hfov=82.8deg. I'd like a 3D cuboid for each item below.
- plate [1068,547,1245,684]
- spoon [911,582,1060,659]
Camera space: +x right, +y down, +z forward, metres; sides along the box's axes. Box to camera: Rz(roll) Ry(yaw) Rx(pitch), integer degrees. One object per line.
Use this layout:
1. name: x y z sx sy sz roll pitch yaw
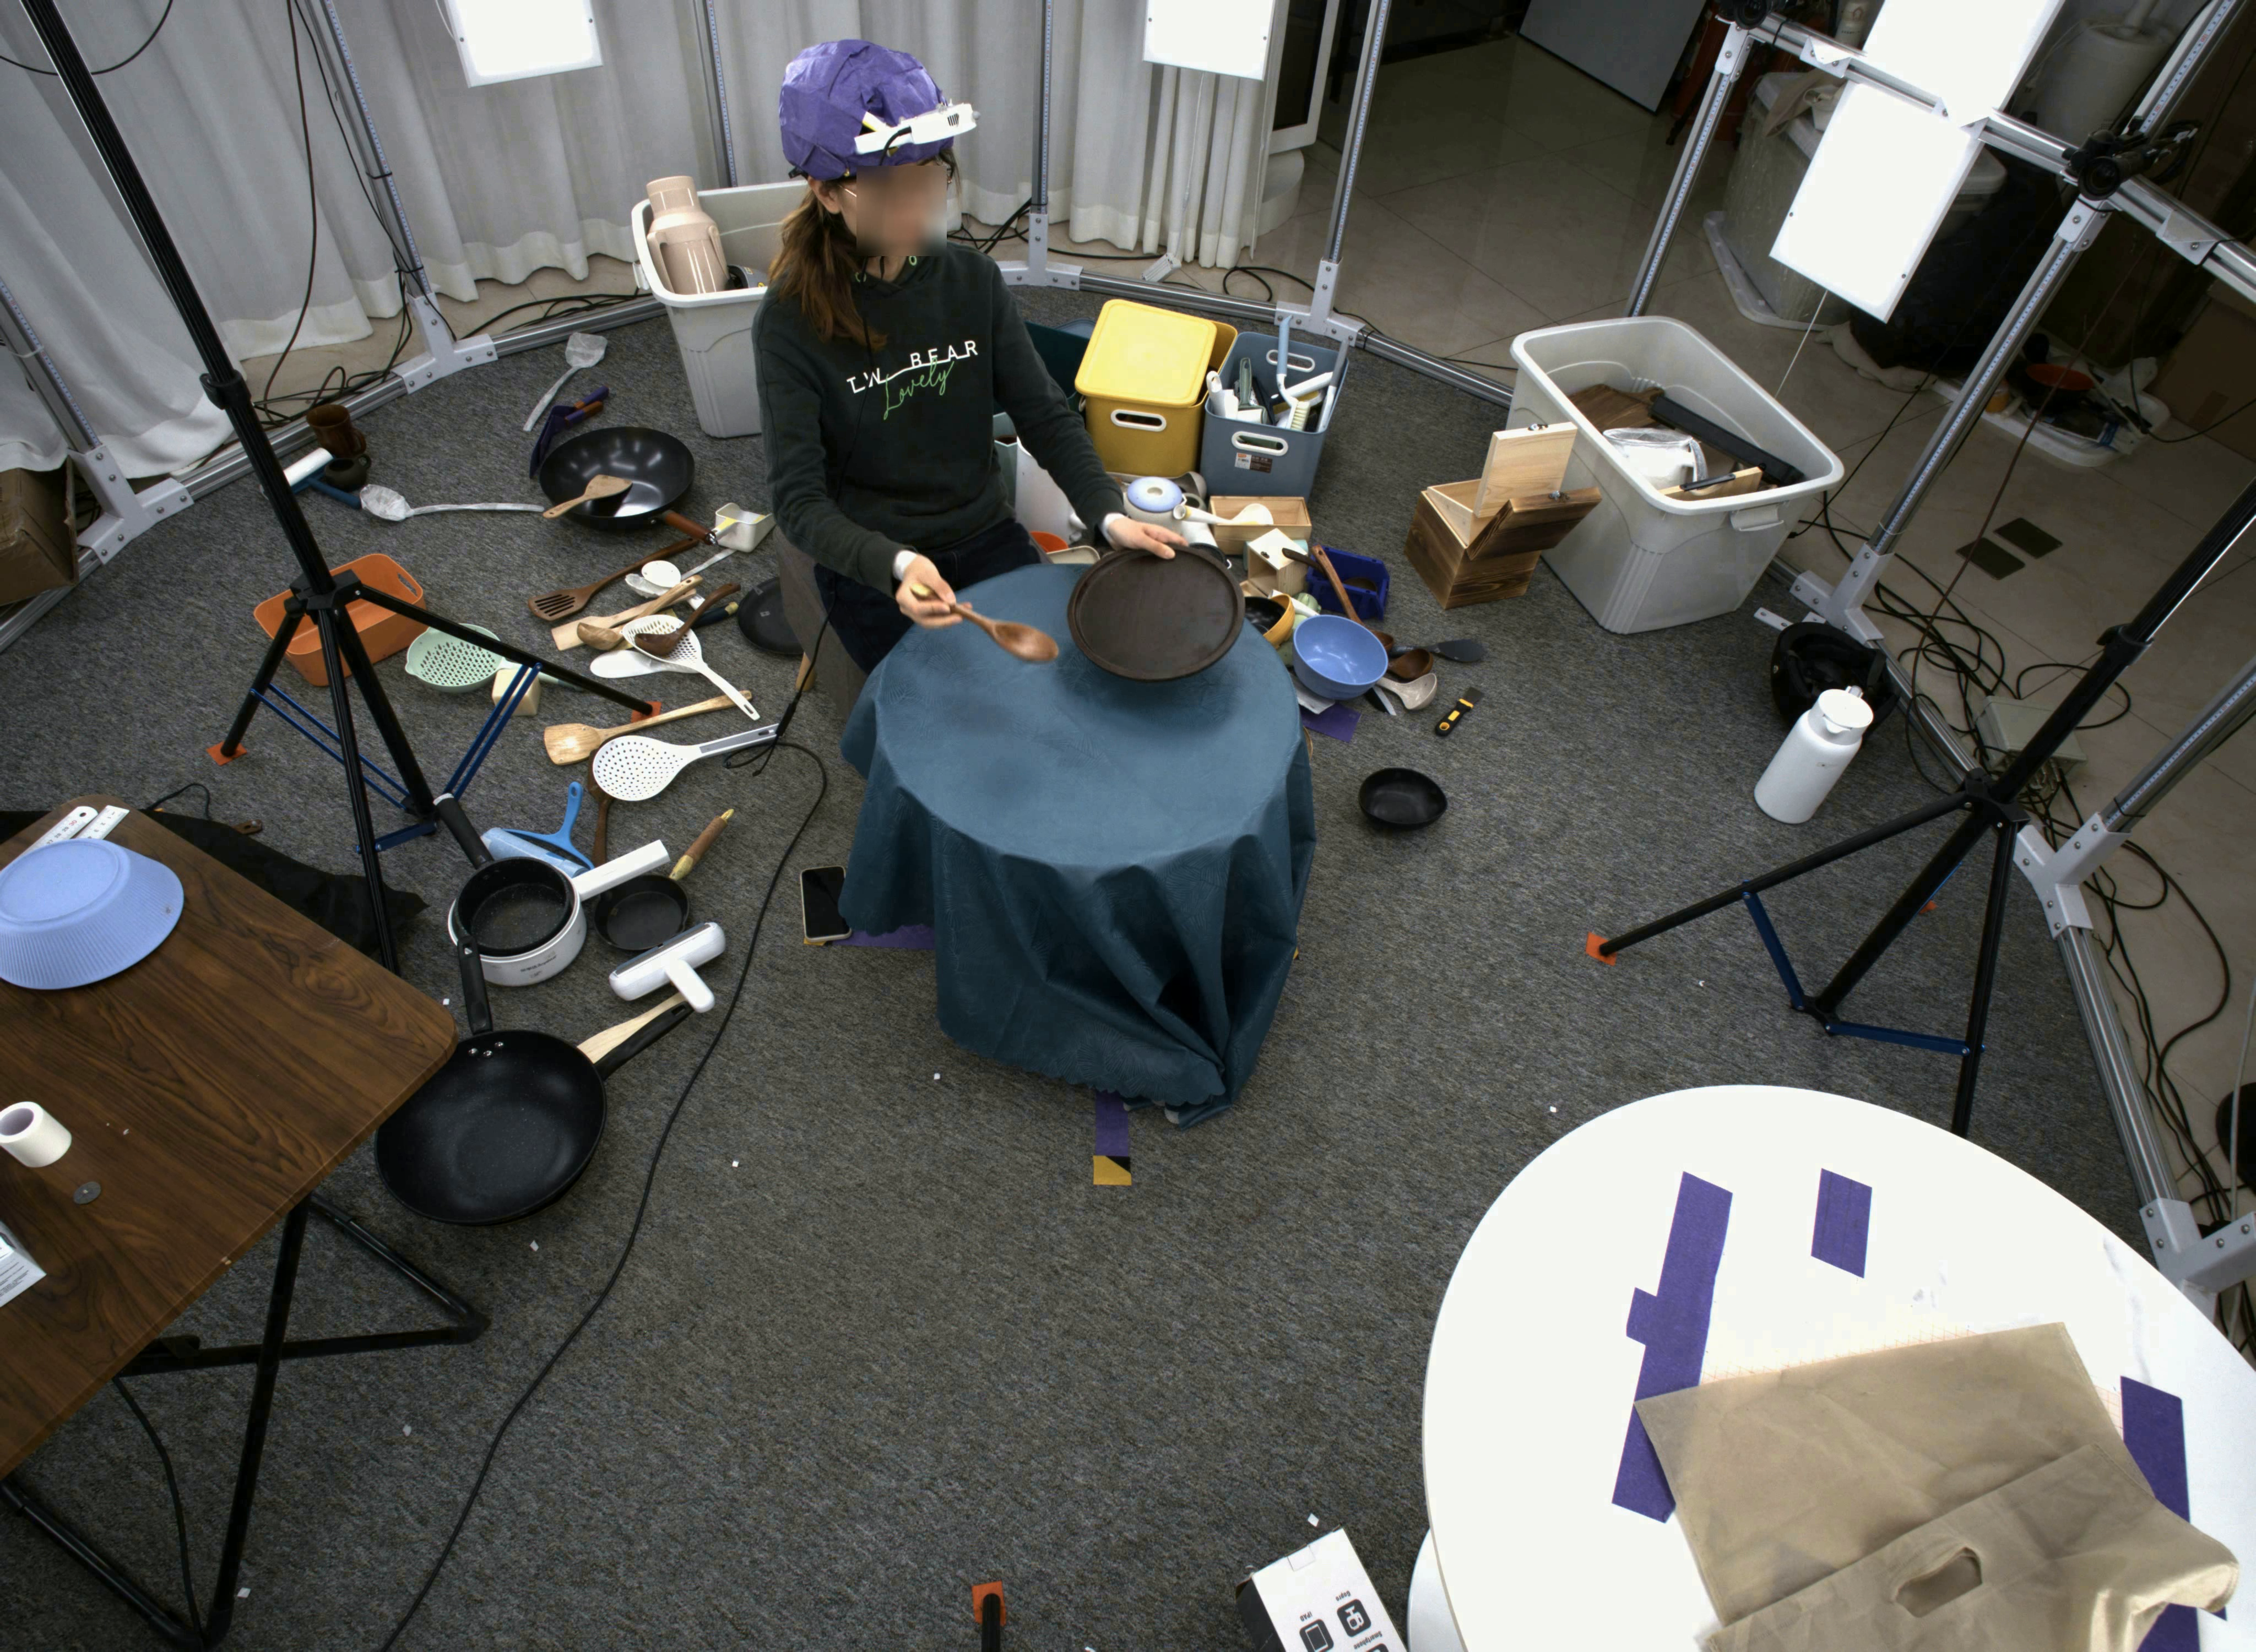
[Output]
1. plate: 0.041 -0.304 1.846 0.255 0.028 0.261 -2 57 3
2. spoon: -0.190 -0.271 1.698 0.217 0.017 0.076 27 36 8
